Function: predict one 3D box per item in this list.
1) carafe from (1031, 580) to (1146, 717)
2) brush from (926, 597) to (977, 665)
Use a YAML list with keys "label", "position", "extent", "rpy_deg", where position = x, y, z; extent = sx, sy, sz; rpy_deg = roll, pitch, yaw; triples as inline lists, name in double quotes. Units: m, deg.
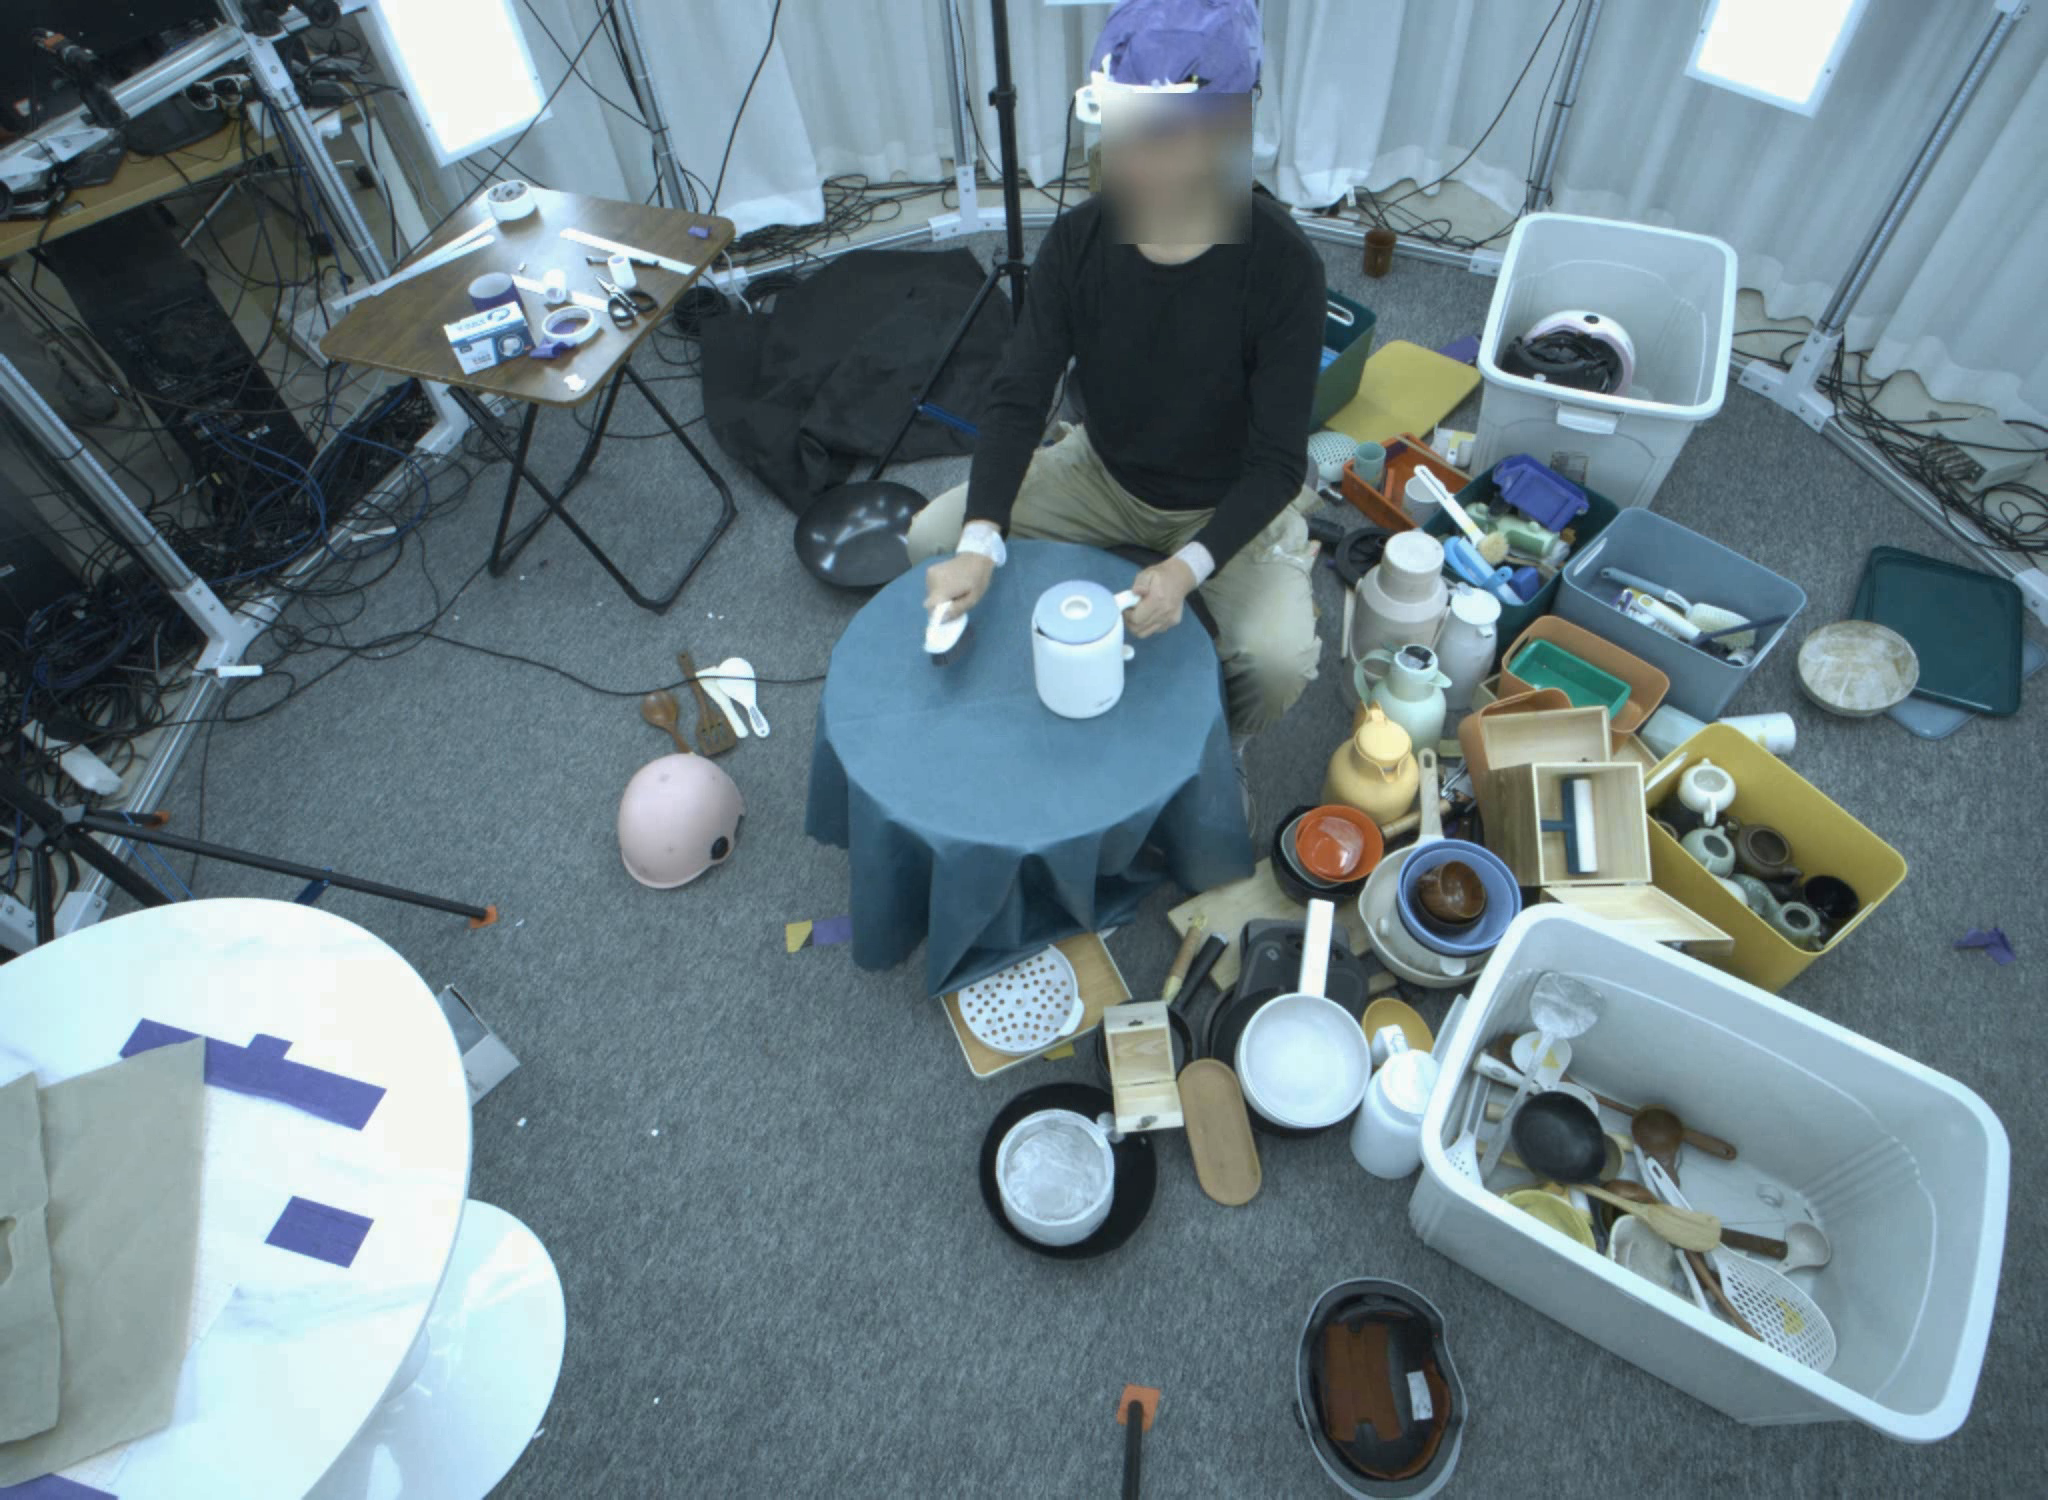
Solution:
- label: "carafe"
  position: [0.100, -0.157, 1.790]
  extent: [0.192, 0.184, 0.130]
  rpy_deg: [-29, 58, -18]
- label: "brush"
  position: [-0.115, -0.184, 1.818]
  extent: [0.049, 0.074, 0.099]
  rpy_deg: [2, 43, 28]
